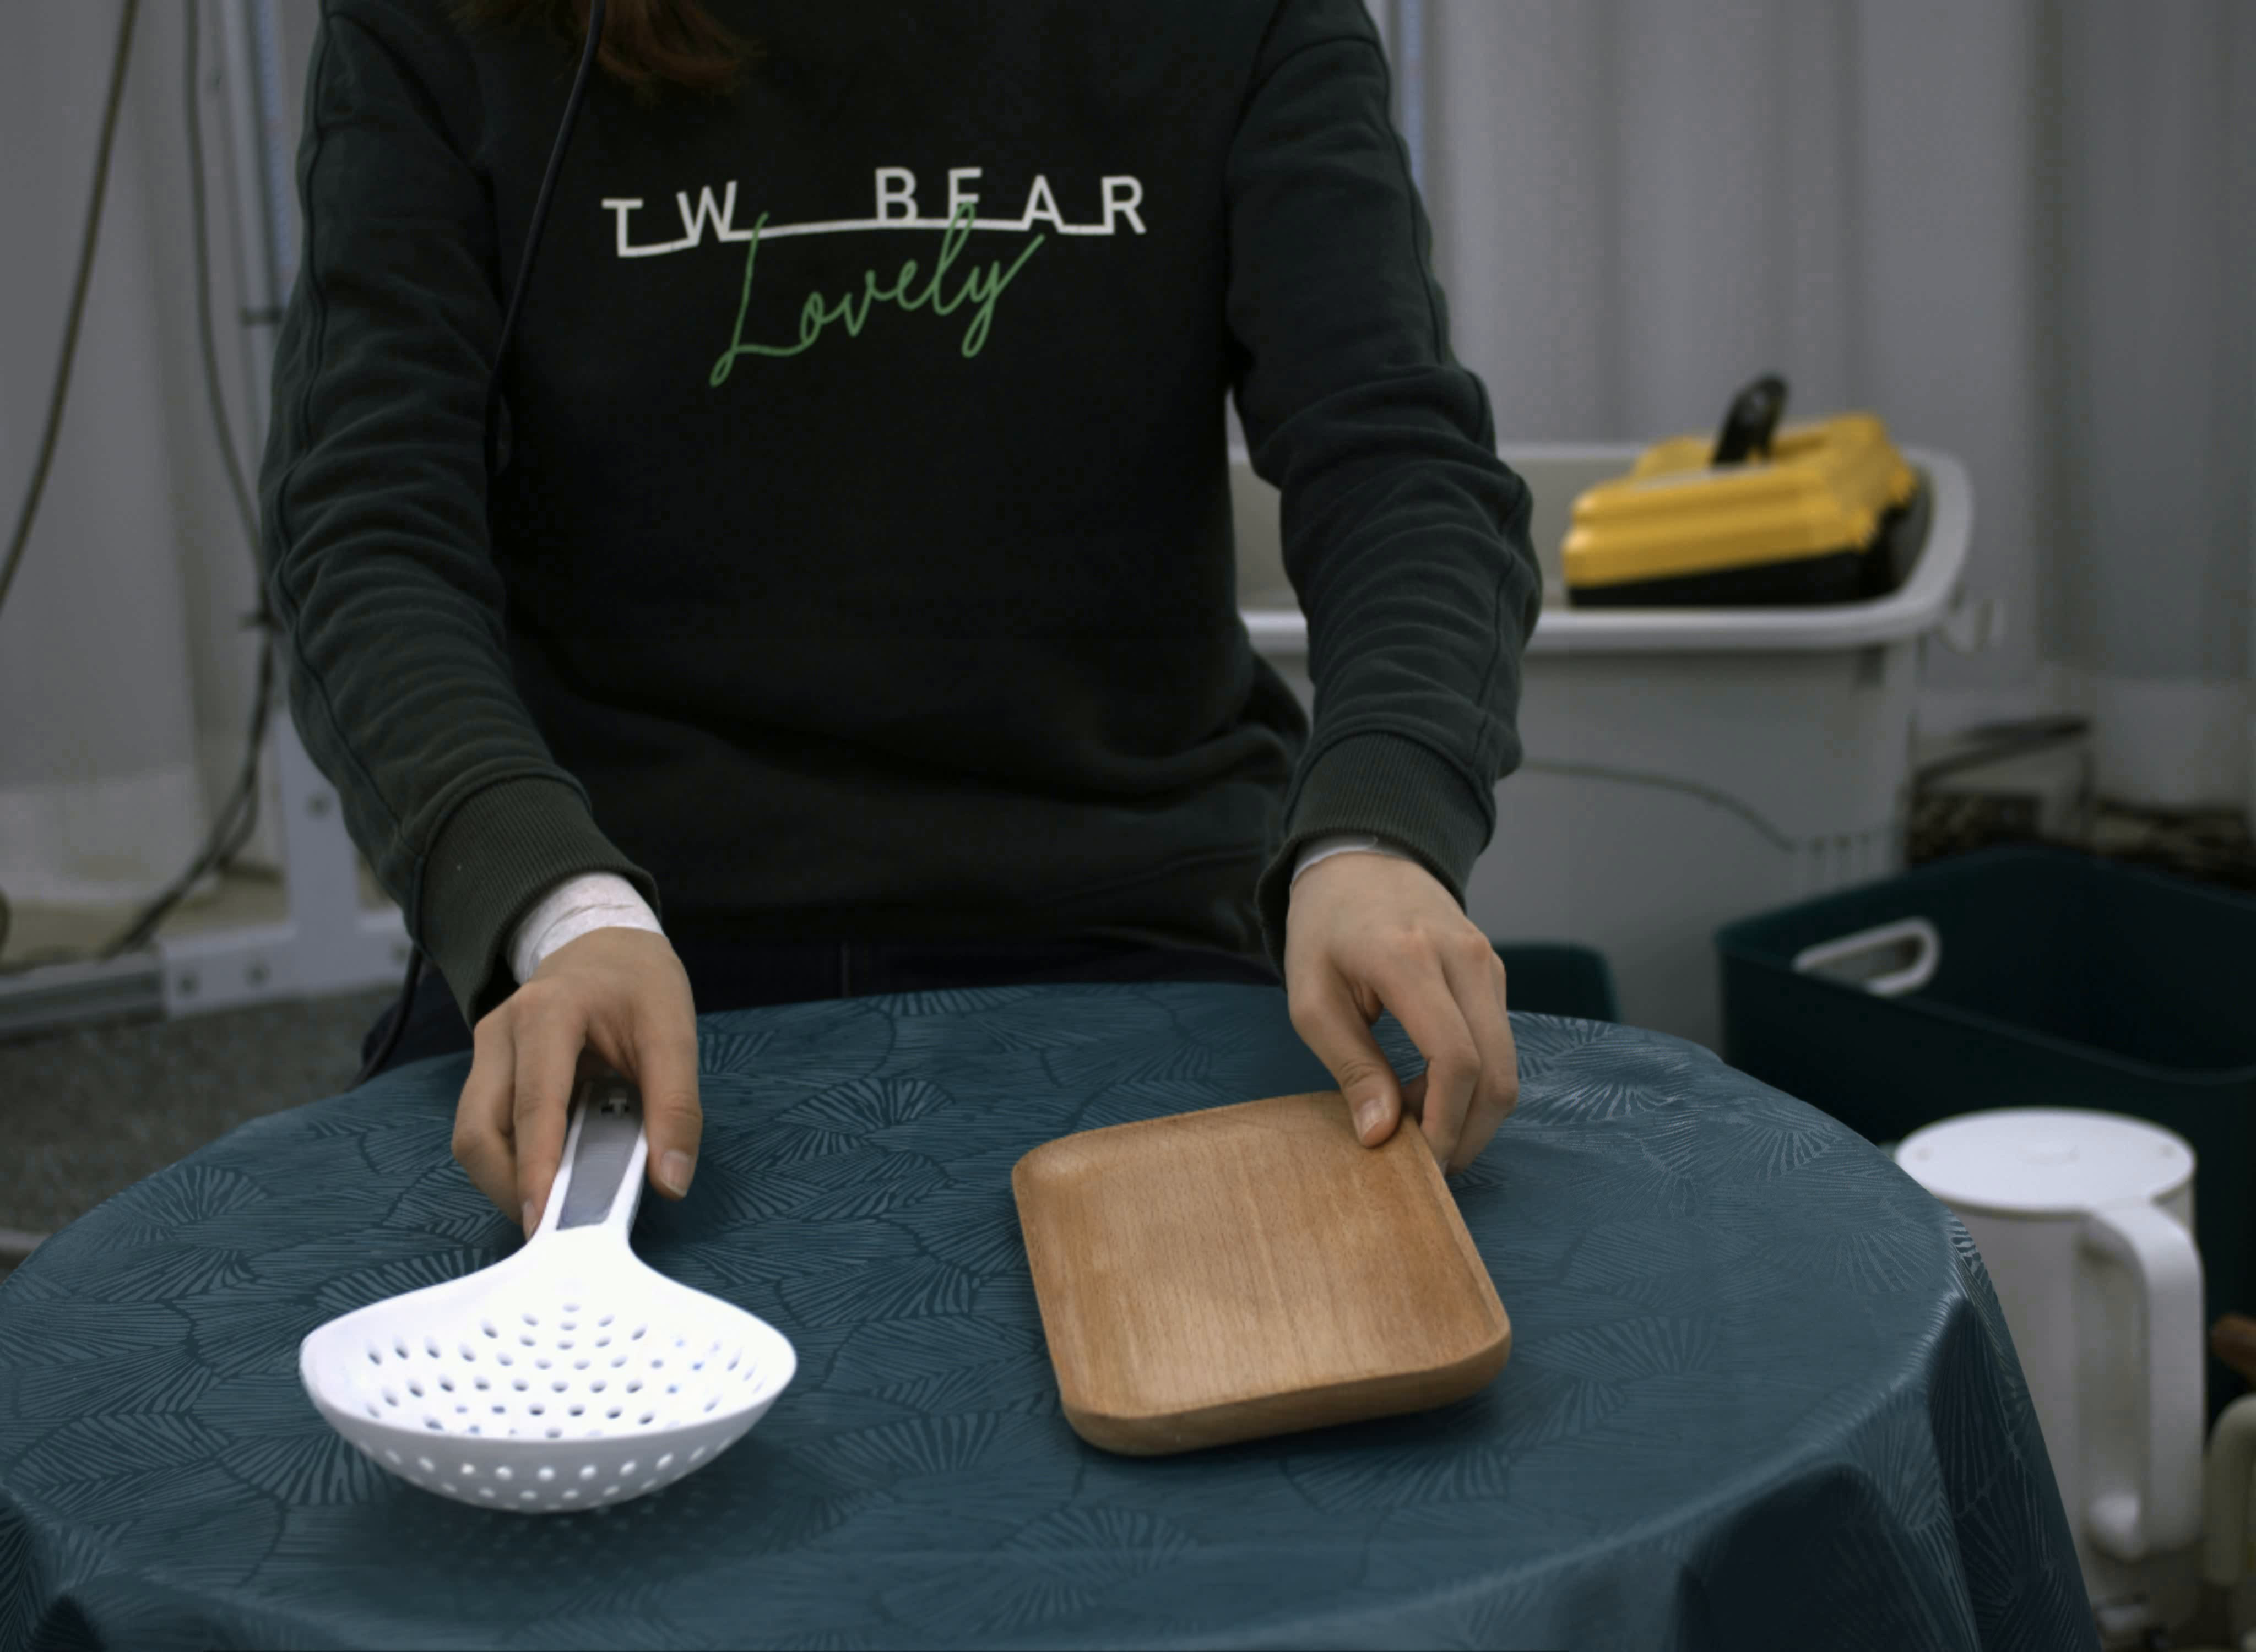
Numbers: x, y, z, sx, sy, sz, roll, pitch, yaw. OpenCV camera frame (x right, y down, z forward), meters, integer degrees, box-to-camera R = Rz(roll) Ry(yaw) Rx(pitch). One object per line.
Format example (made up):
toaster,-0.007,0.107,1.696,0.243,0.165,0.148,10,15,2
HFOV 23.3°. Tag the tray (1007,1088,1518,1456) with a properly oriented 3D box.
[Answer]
tray,0.036,0.128,1.605,0.130,0.023,0.252,-7,14,-3

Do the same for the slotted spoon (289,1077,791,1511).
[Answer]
slotted spoon,-0.160,0.127,1.587,0.135,0.045,0.352,2,17,-1
